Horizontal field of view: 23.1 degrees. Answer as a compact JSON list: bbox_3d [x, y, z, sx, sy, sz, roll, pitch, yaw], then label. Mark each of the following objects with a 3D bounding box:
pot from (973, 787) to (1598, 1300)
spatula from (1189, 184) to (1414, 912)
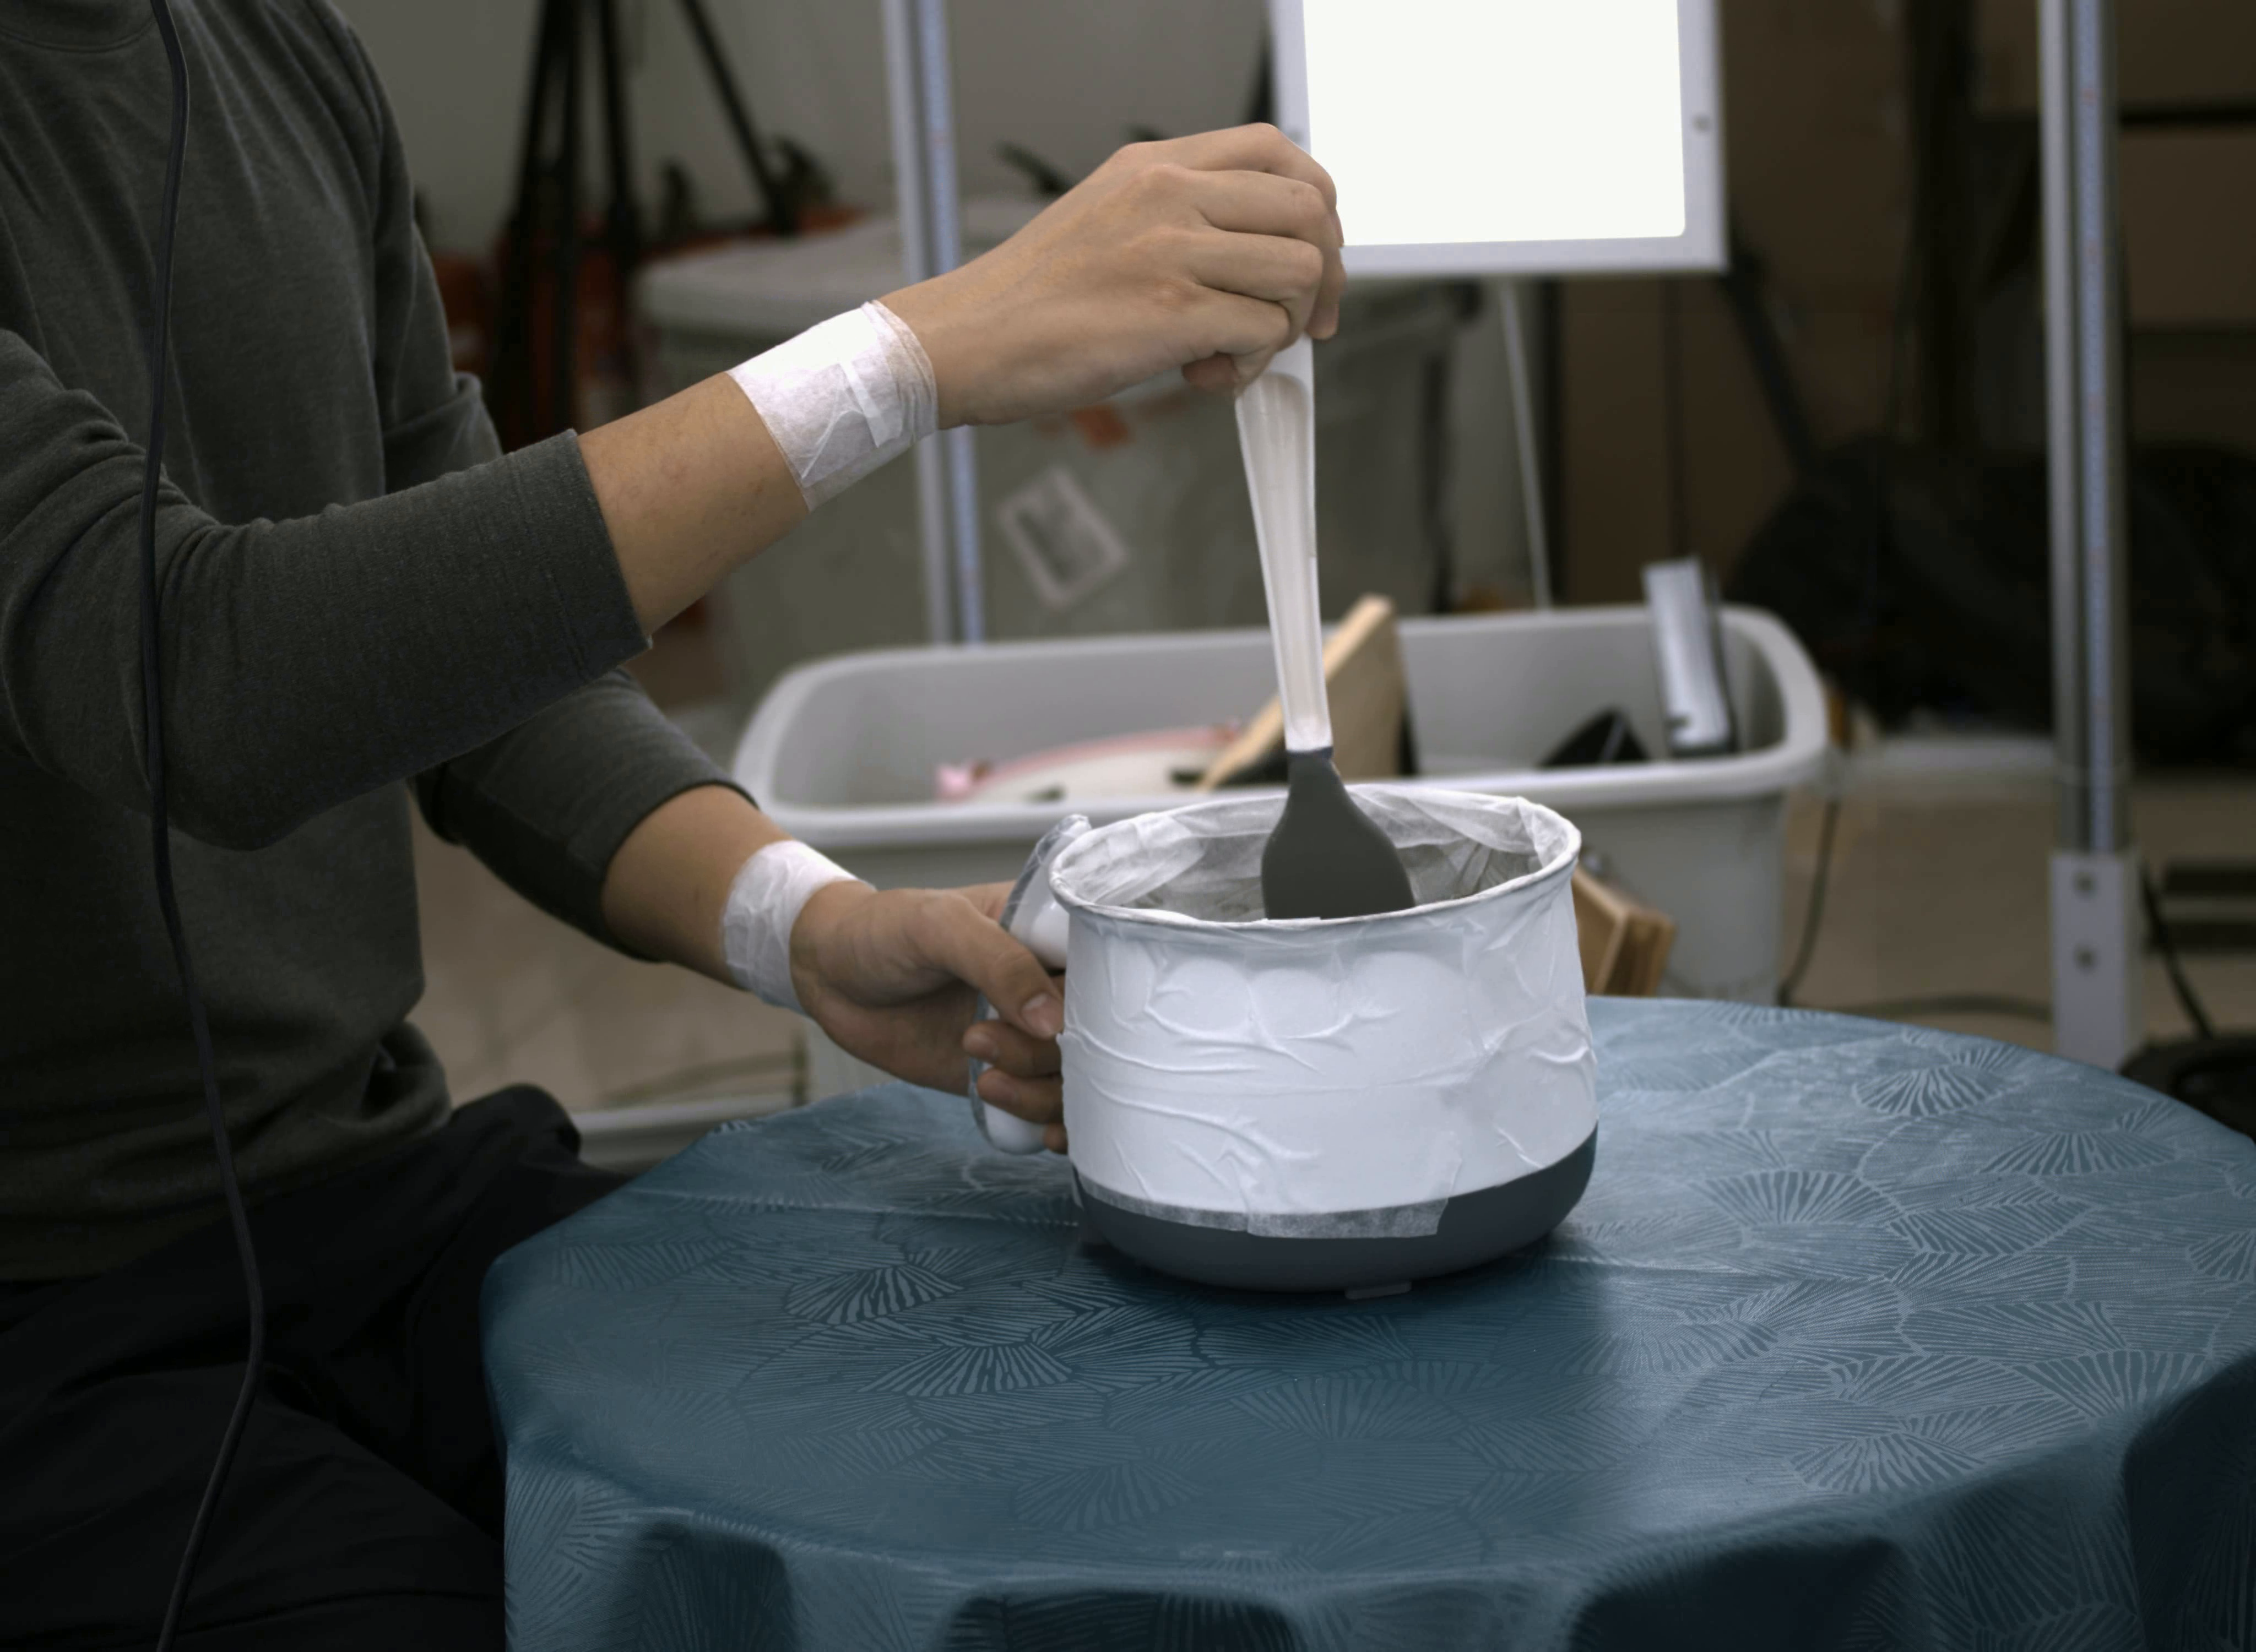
[{"bbox_3d":[0.044,0.068,1.838,0.238,0.137,0.174,5,17,37],"label":"pot"},{"bbox_3d":[0.057,-0.066,1.796,0.059,0.288,0.032,-4,16,16],"label":"spatula"}]
